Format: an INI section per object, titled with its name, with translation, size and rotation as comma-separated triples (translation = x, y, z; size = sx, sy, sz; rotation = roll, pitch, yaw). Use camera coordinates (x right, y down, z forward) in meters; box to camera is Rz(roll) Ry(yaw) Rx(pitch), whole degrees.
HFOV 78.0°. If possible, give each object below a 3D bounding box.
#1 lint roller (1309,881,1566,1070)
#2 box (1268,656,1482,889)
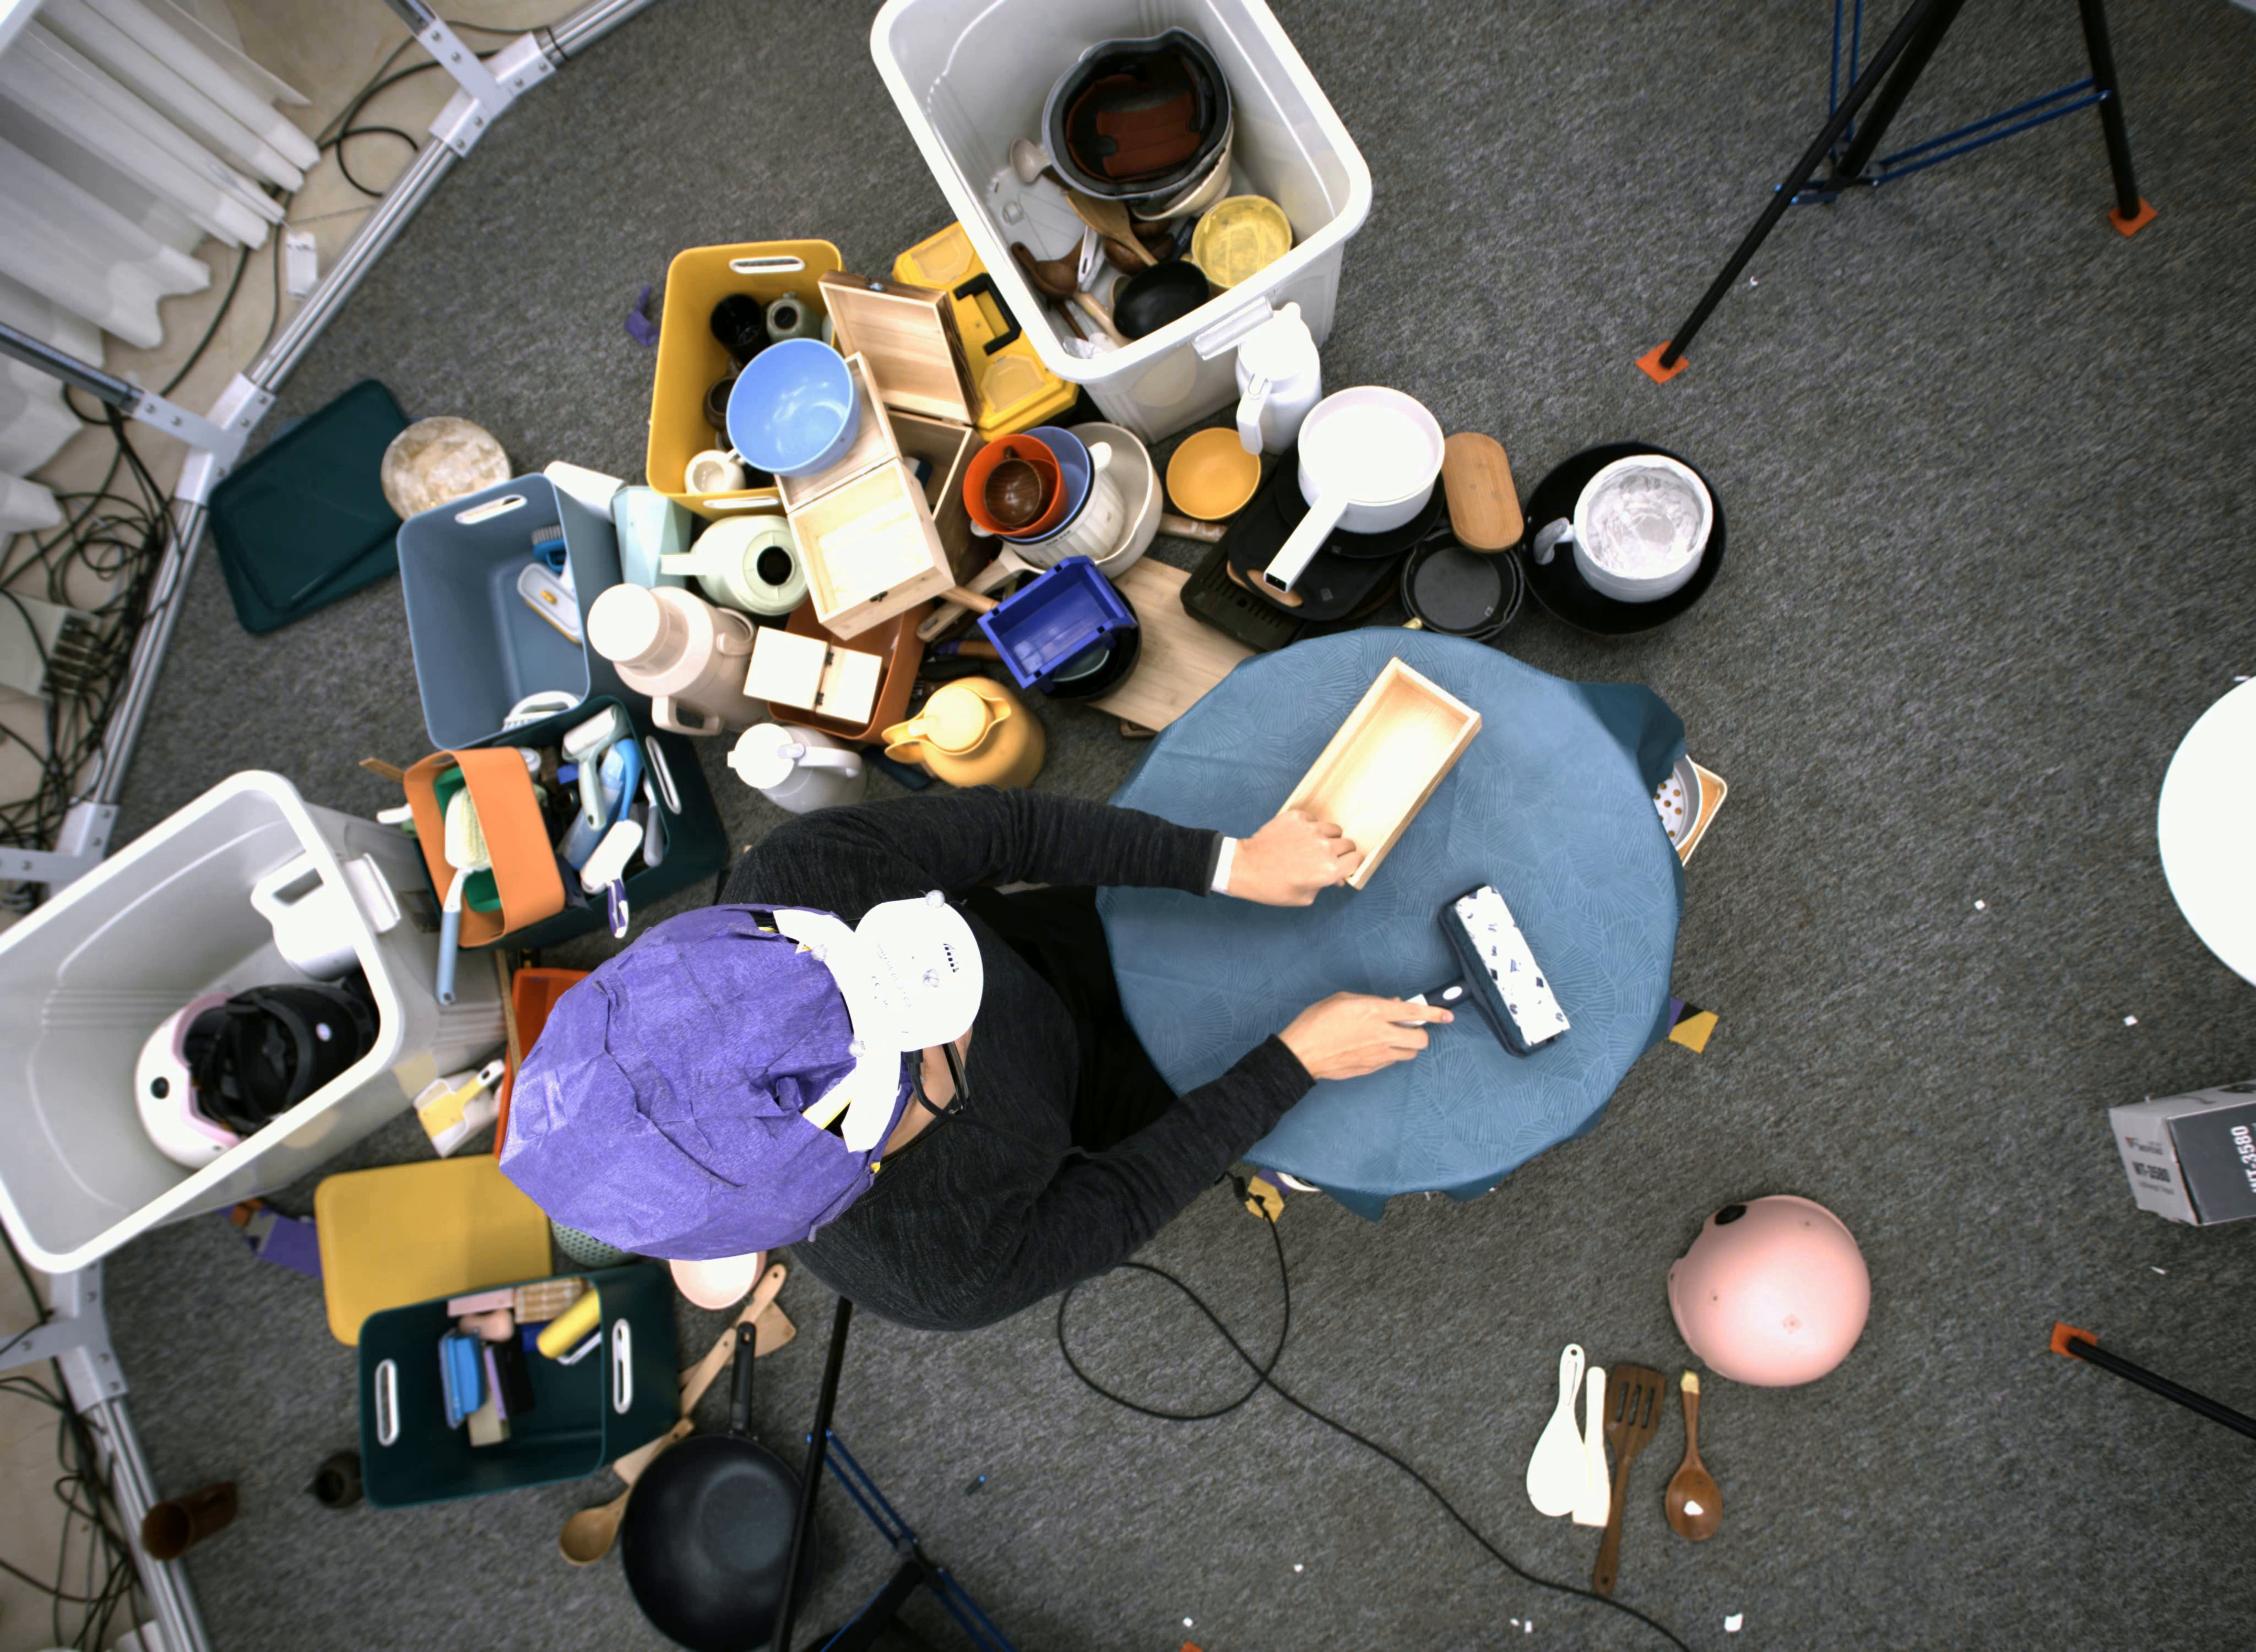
[lint roller]
translation = 0.295, 0.185, 1.402
size = 0.248, 0.050, 0.174
rotation = -29, 76, 8
[box]
translation = 0.253, -0.053, 1.401
size = 0.107, 0.080, 0.212
rotation = 38, 97, 15
